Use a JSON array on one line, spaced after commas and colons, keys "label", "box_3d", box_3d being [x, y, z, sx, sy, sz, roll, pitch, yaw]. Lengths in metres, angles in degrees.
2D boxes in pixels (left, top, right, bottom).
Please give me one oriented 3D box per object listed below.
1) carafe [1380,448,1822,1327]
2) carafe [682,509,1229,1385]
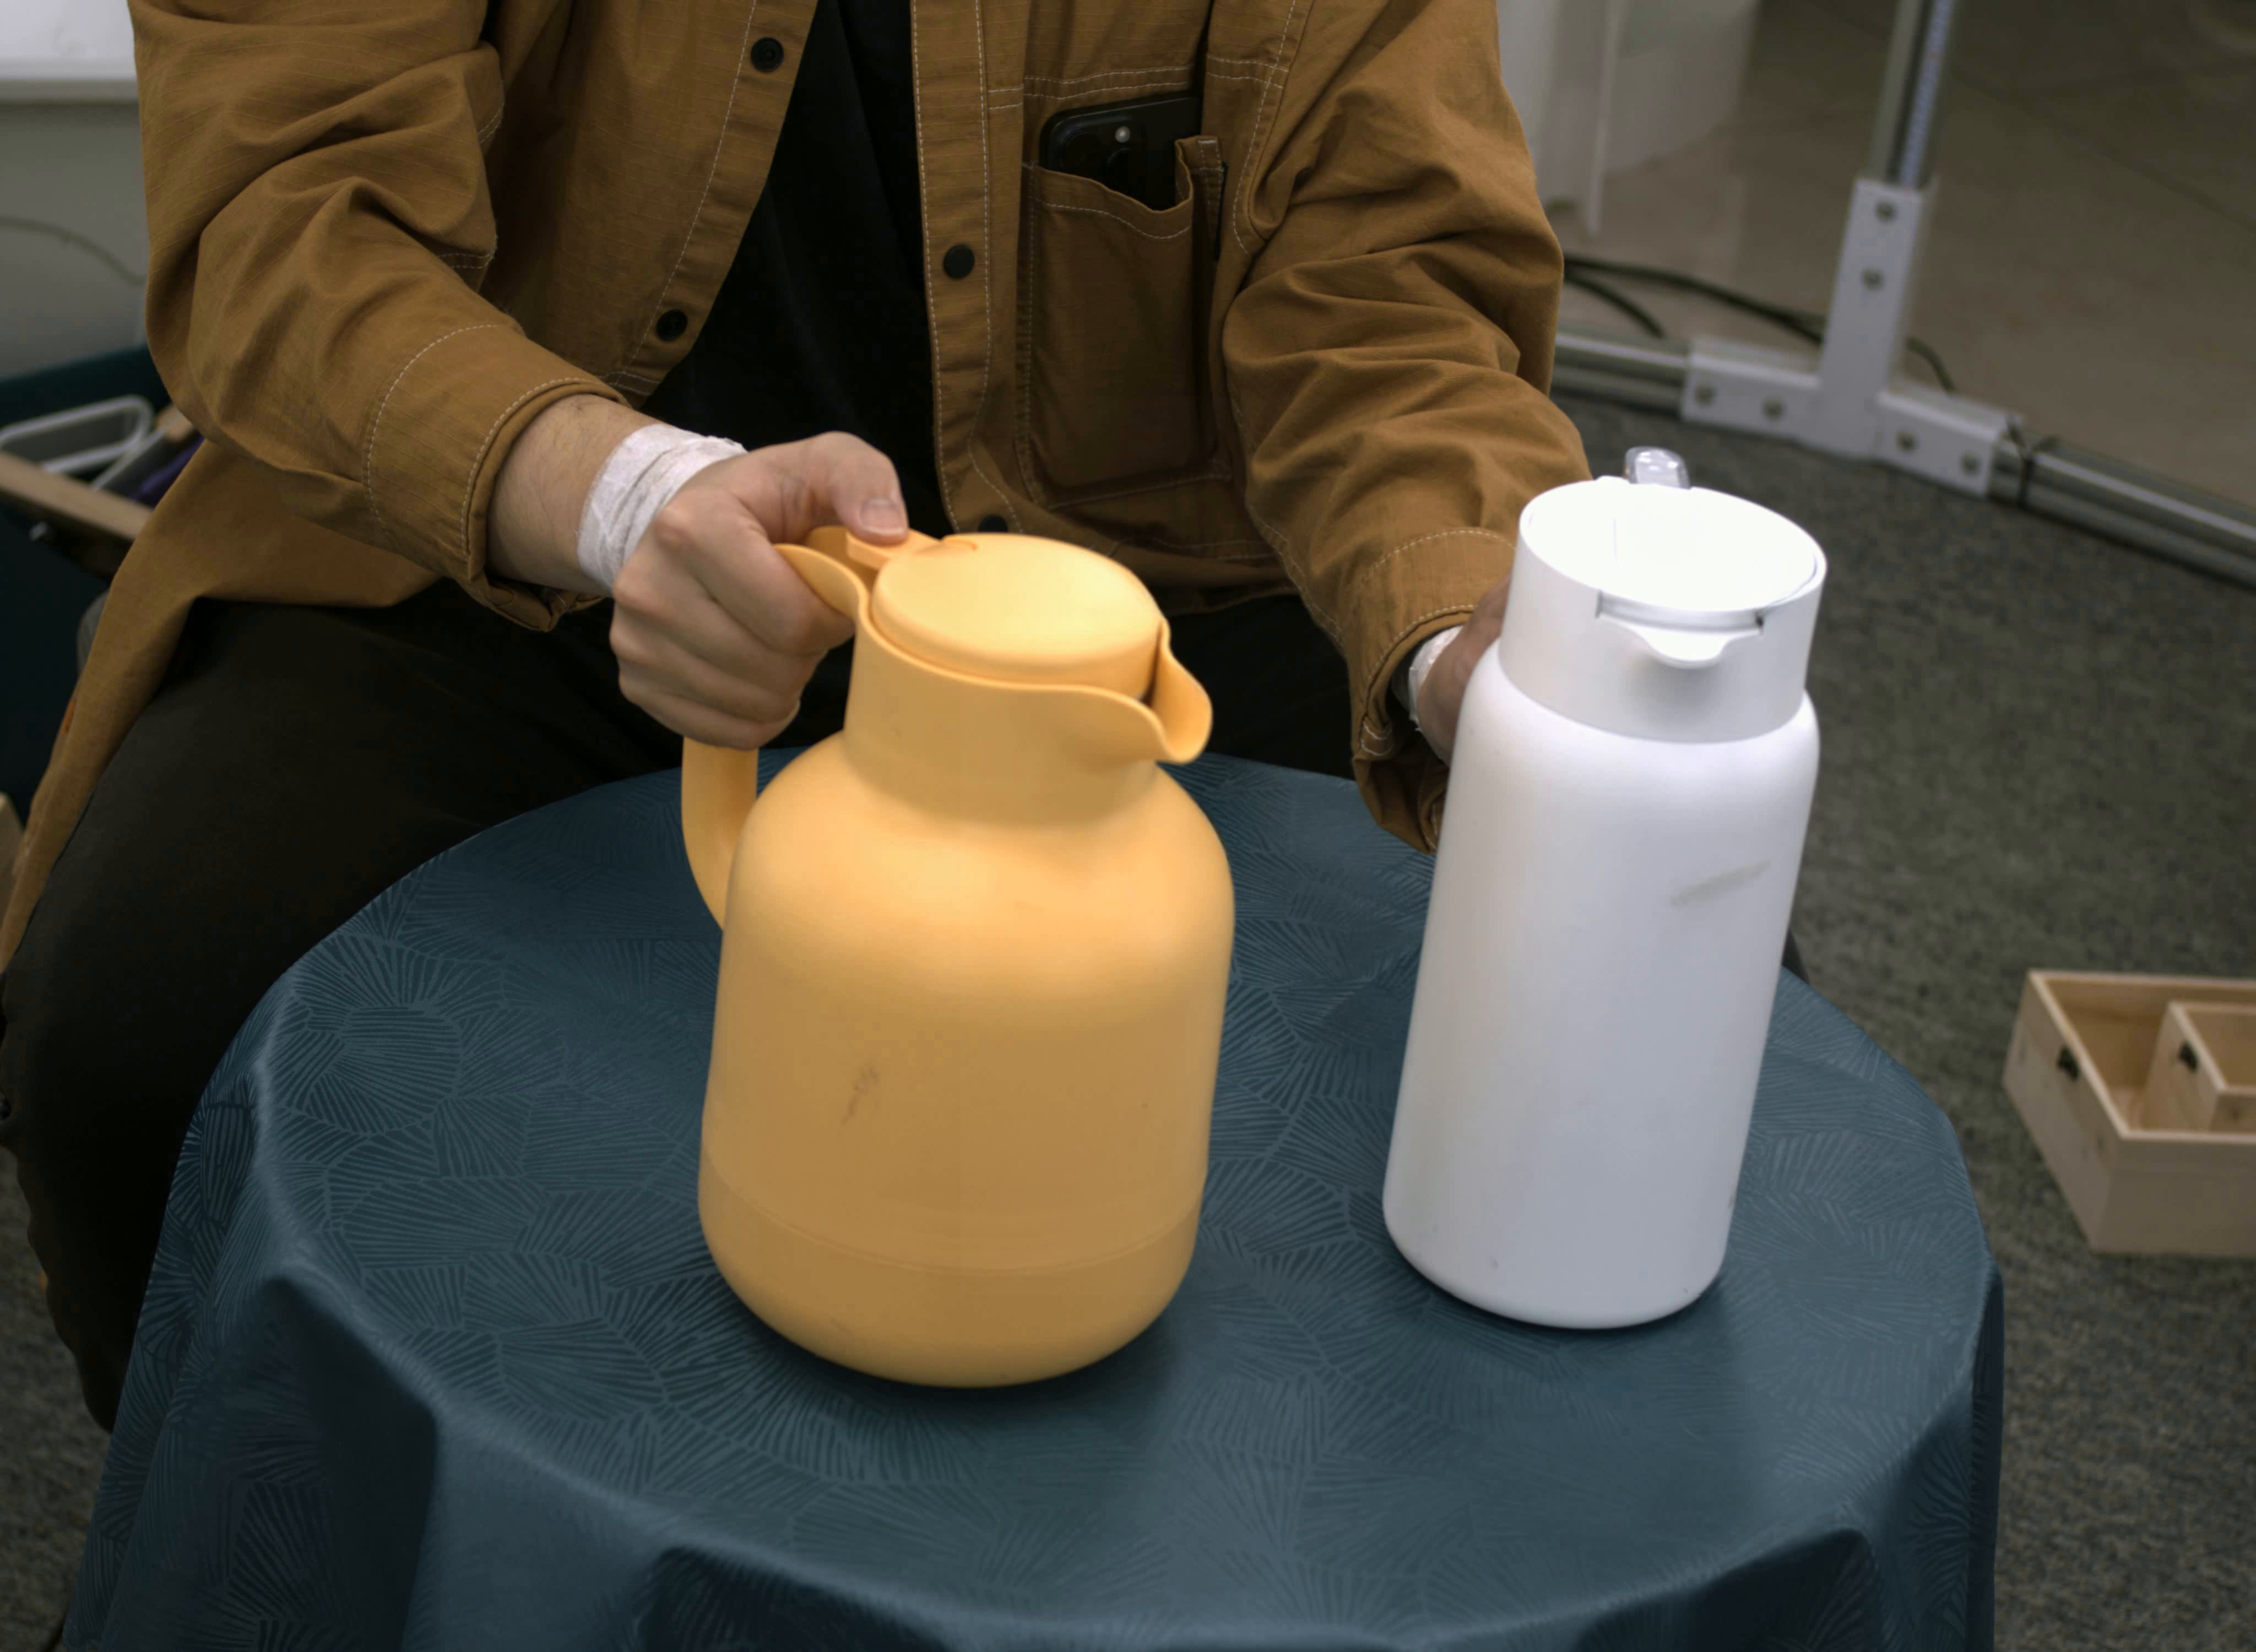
[{"label": "carafe", "box_3d": [0.155, 0.016, 1.756, 0.123, 0.268, 0.174, 3, 26, -2]}, {"label": "carafe", "box_3d": [-0.063, 0.028, 1.690, 0.204, 0.260, 0.162, 29, 31, 35]}]
